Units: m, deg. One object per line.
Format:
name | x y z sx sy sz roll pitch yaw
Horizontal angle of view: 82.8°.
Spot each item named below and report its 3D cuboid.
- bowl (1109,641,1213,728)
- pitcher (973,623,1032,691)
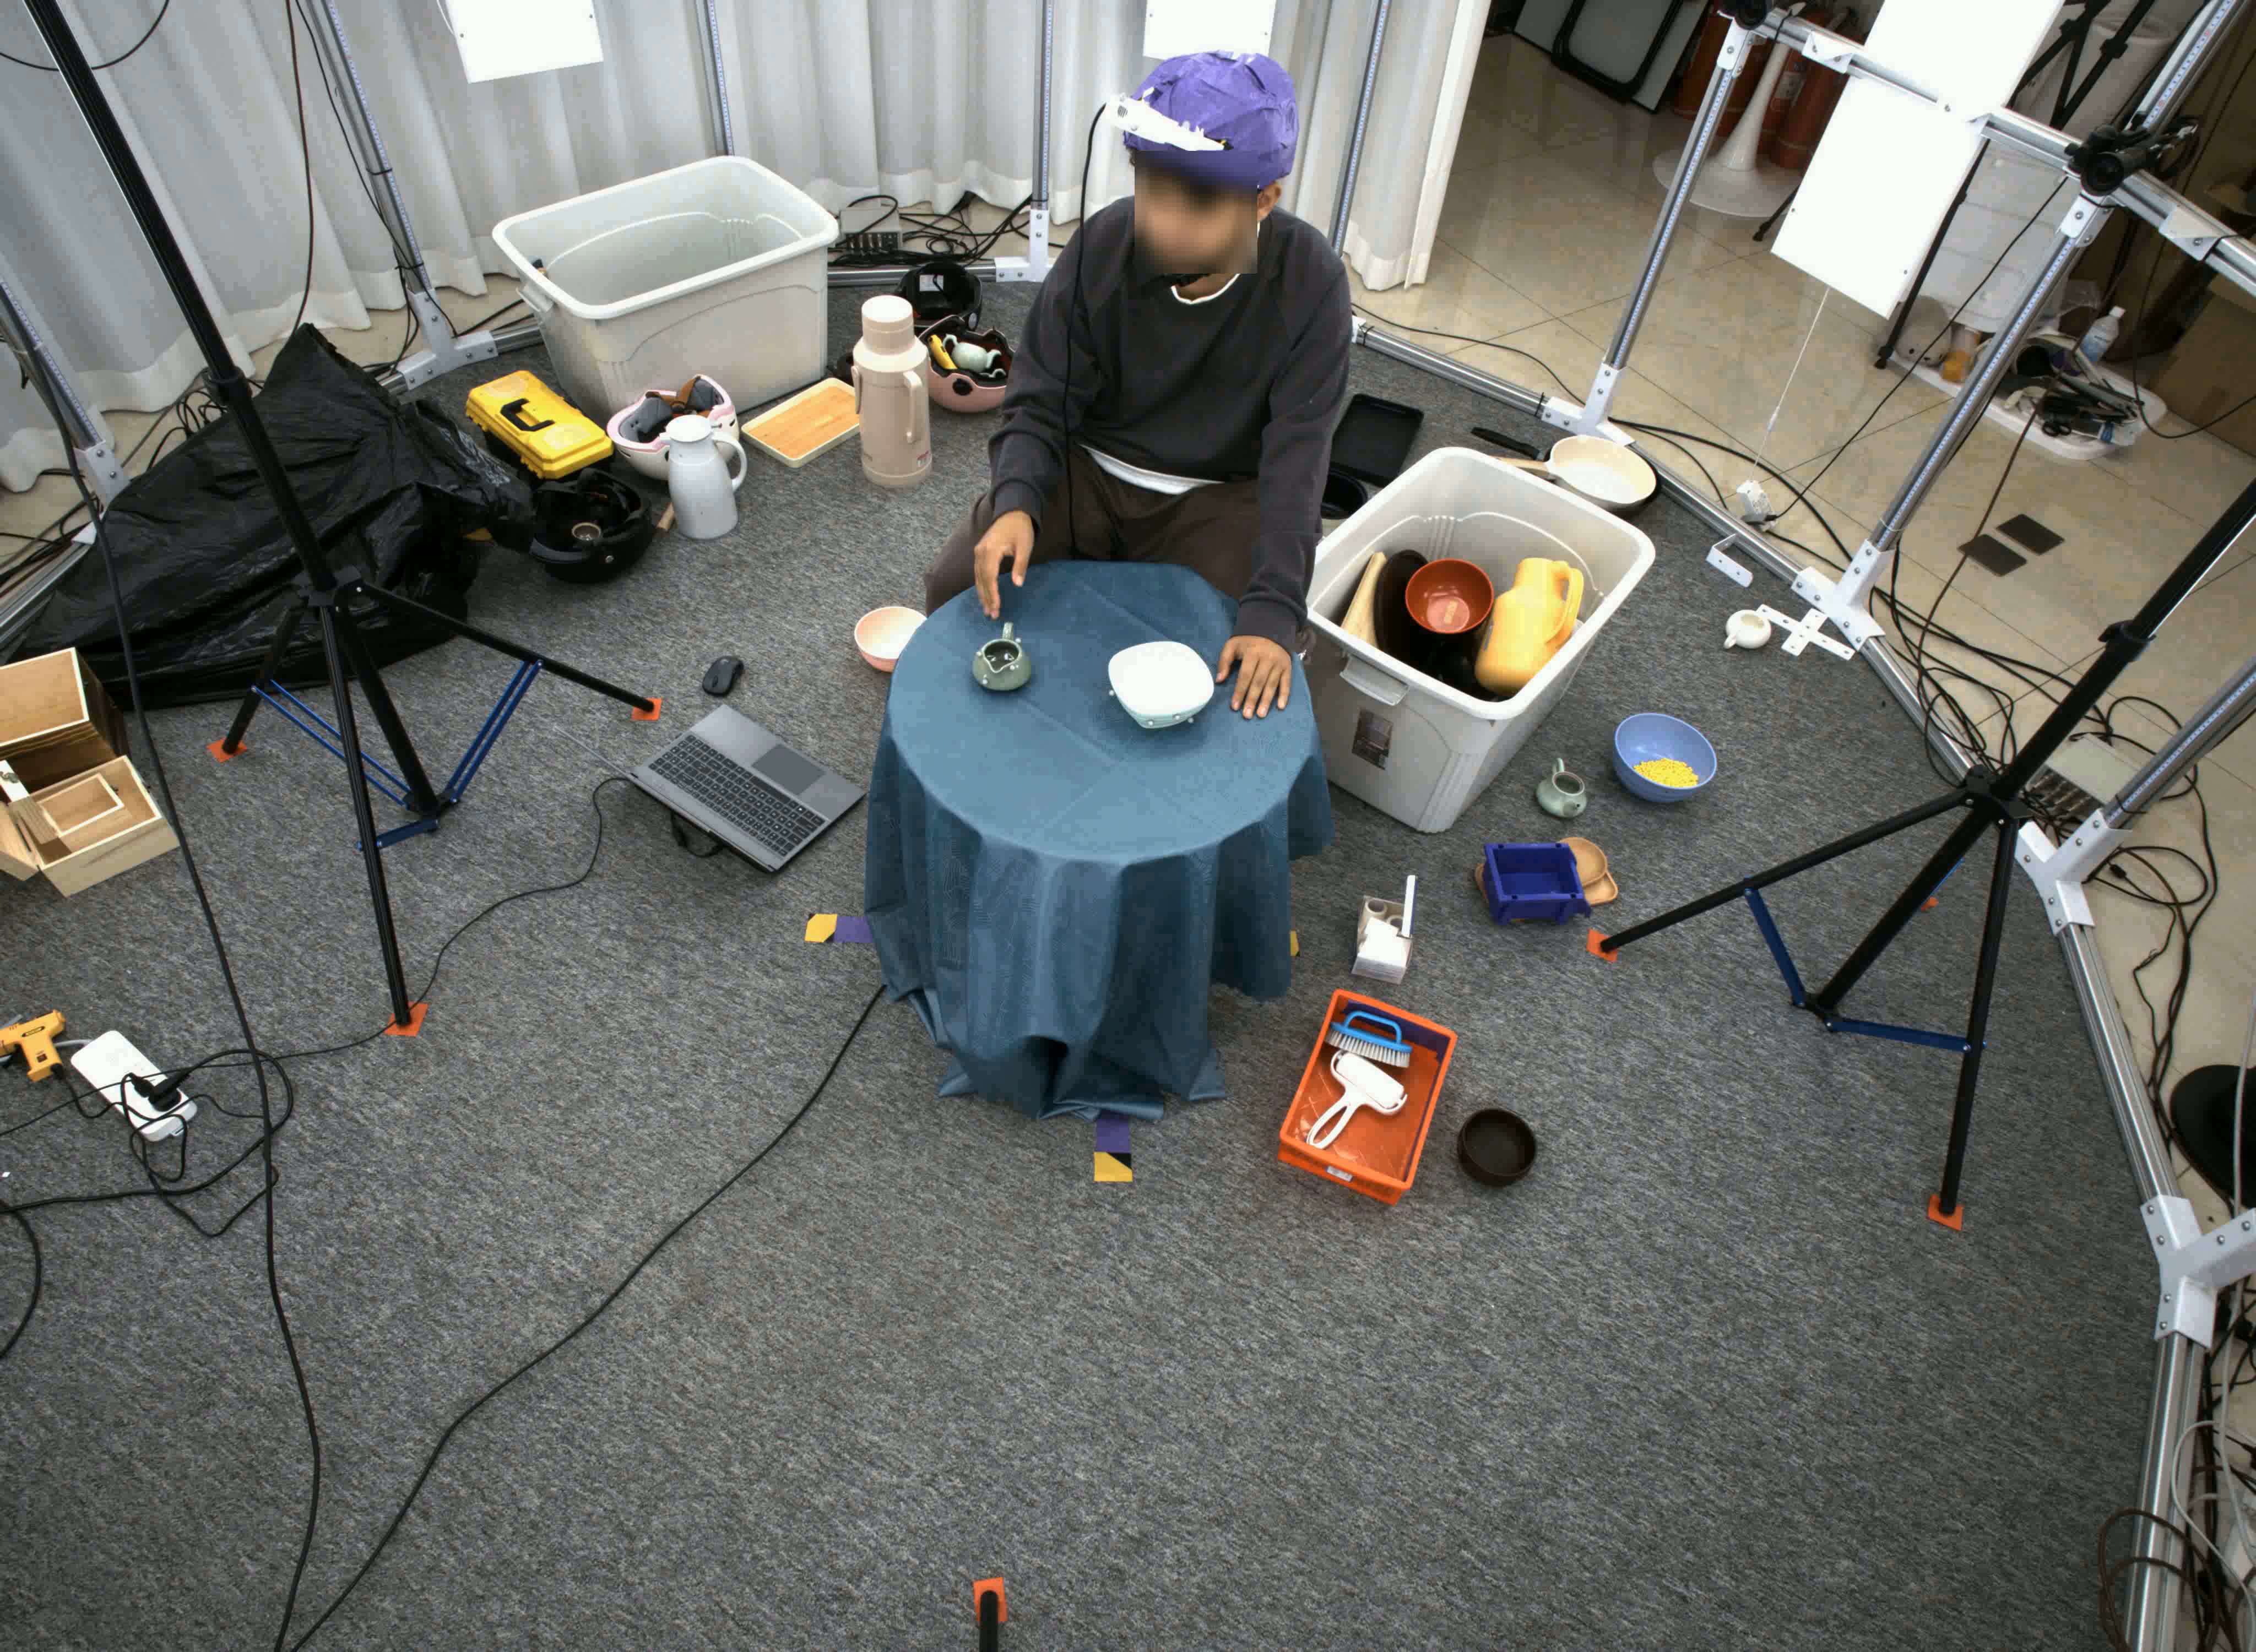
bowl | 0.044 -0.190 1.798 0.151 0.057 0.155 2 50 -3
pitcher | -0.177 -0.236 1.822 0.084 0.055 0.115 7 48 0
